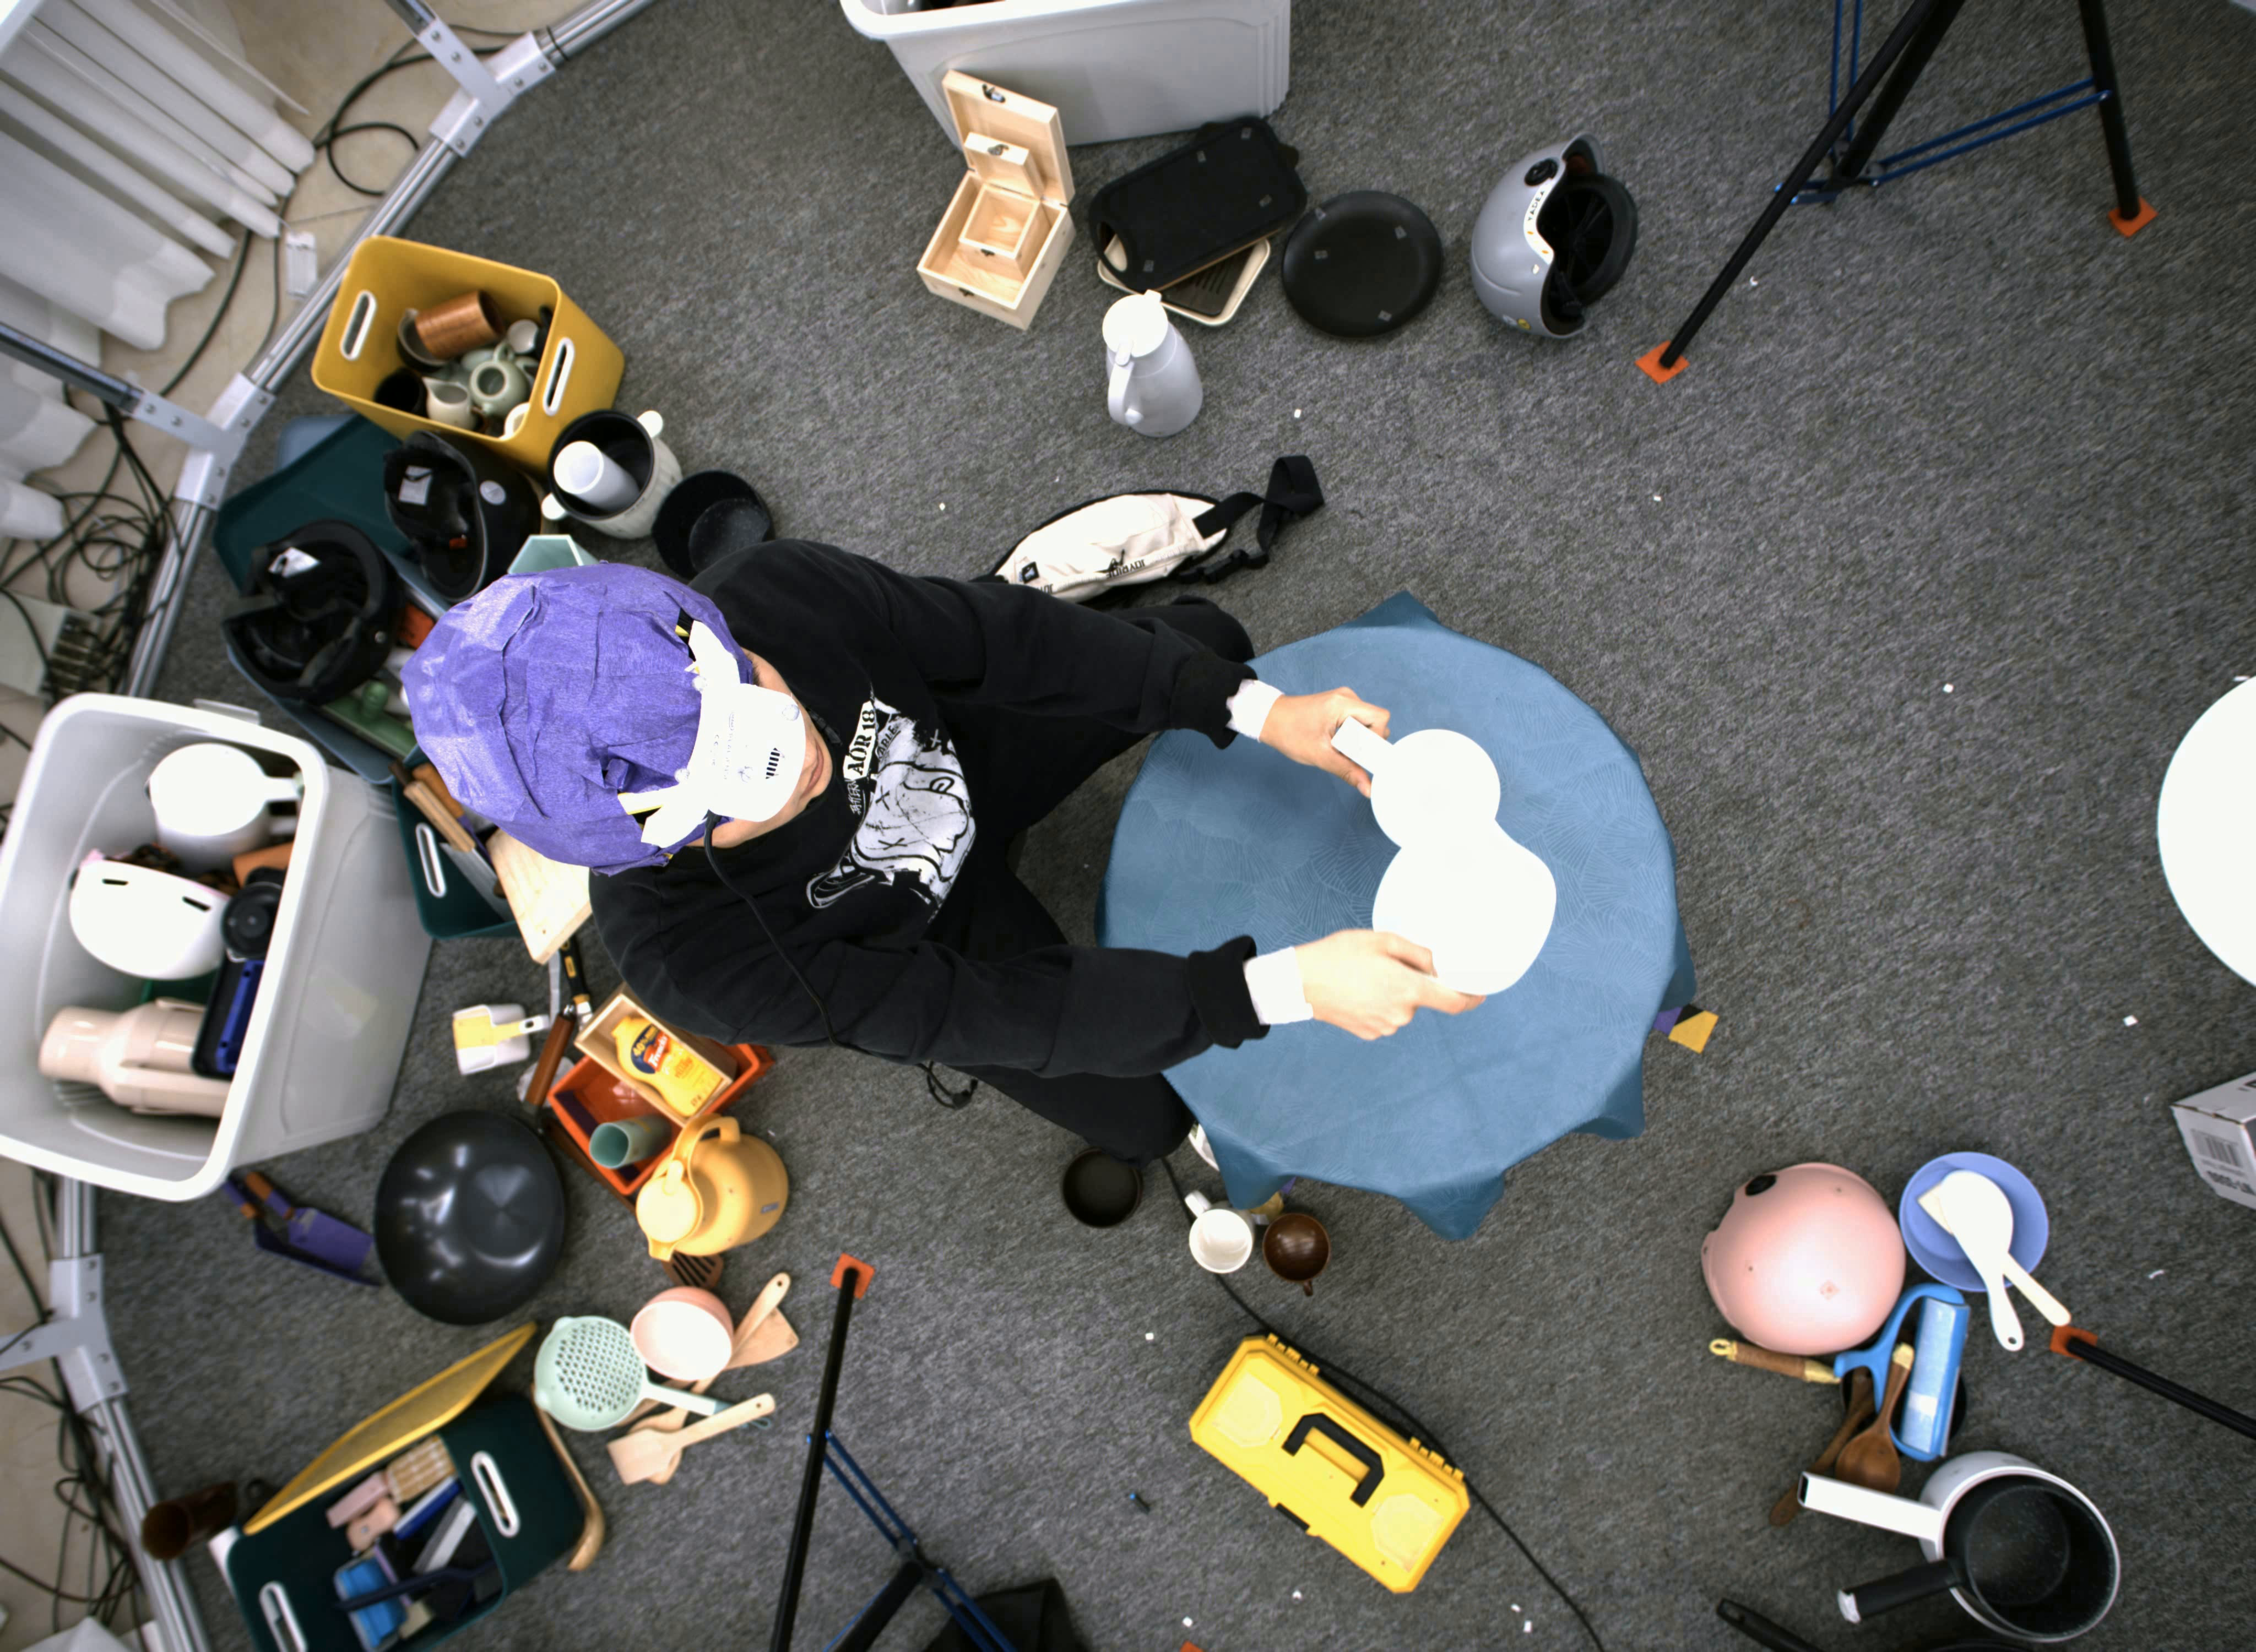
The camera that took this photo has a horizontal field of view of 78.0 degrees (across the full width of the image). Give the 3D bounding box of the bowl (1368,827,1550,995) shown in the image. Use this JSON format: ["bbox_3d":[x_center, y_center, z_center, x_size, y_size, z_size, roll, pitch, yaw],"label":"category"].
[{"bbox_3d":[0.276,0.077,1.149,0.152,0.059,0.148,-6,65,12],"label":"bowl"}]

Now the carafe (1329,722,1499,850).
[{"bbox_3d":[0.280,-0.041,1.324,0.172,0.266,0.125,34,103,10],"label":"carafe"}]
